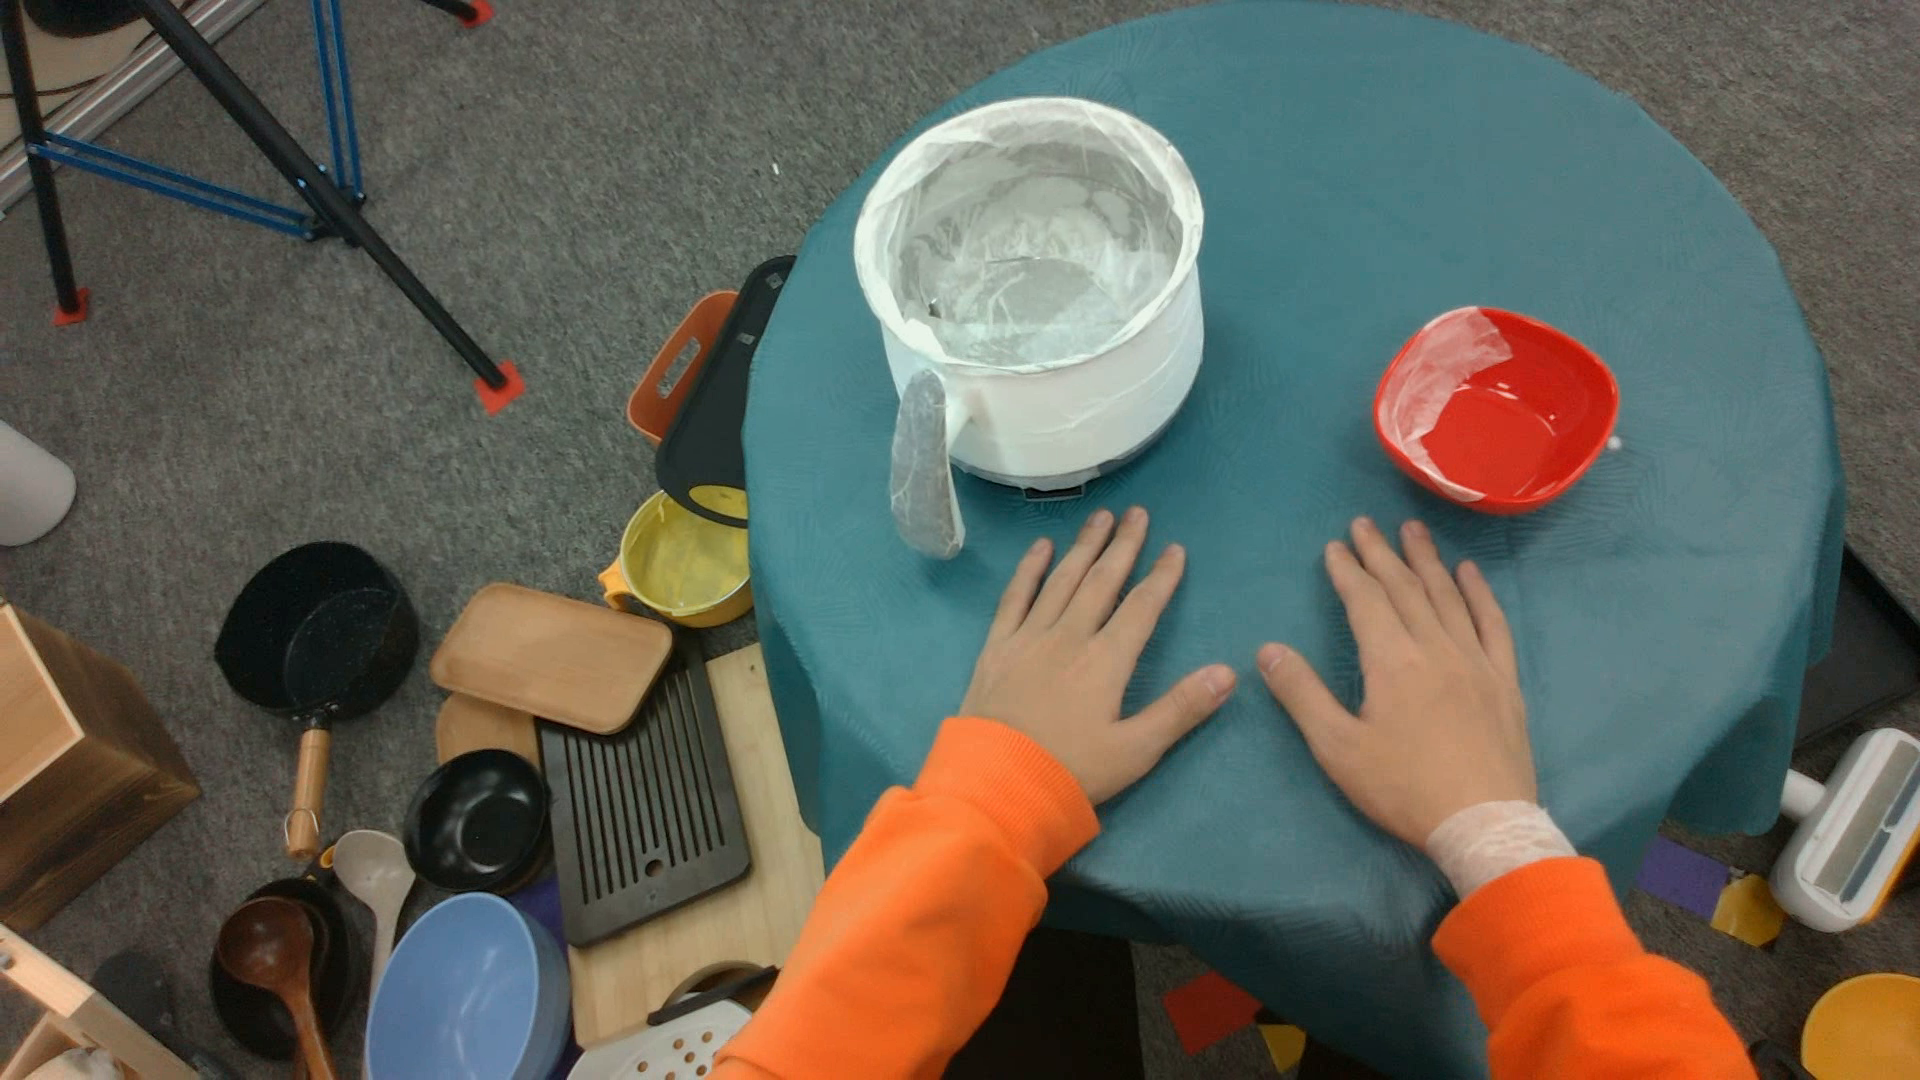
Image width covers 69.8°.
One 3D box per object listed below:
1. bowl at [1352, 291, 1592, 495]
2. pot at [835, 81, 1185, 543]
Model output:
[{"bbox_3d":[0.264,-0.069,0.724,0.119,0.051,0.119,-3,62,7],"label":"bowl"},{"bbox_3d":[0.020,-0.115,0.740,0.178,0.136,0.234,21,68,20],"label":"pot"}]
